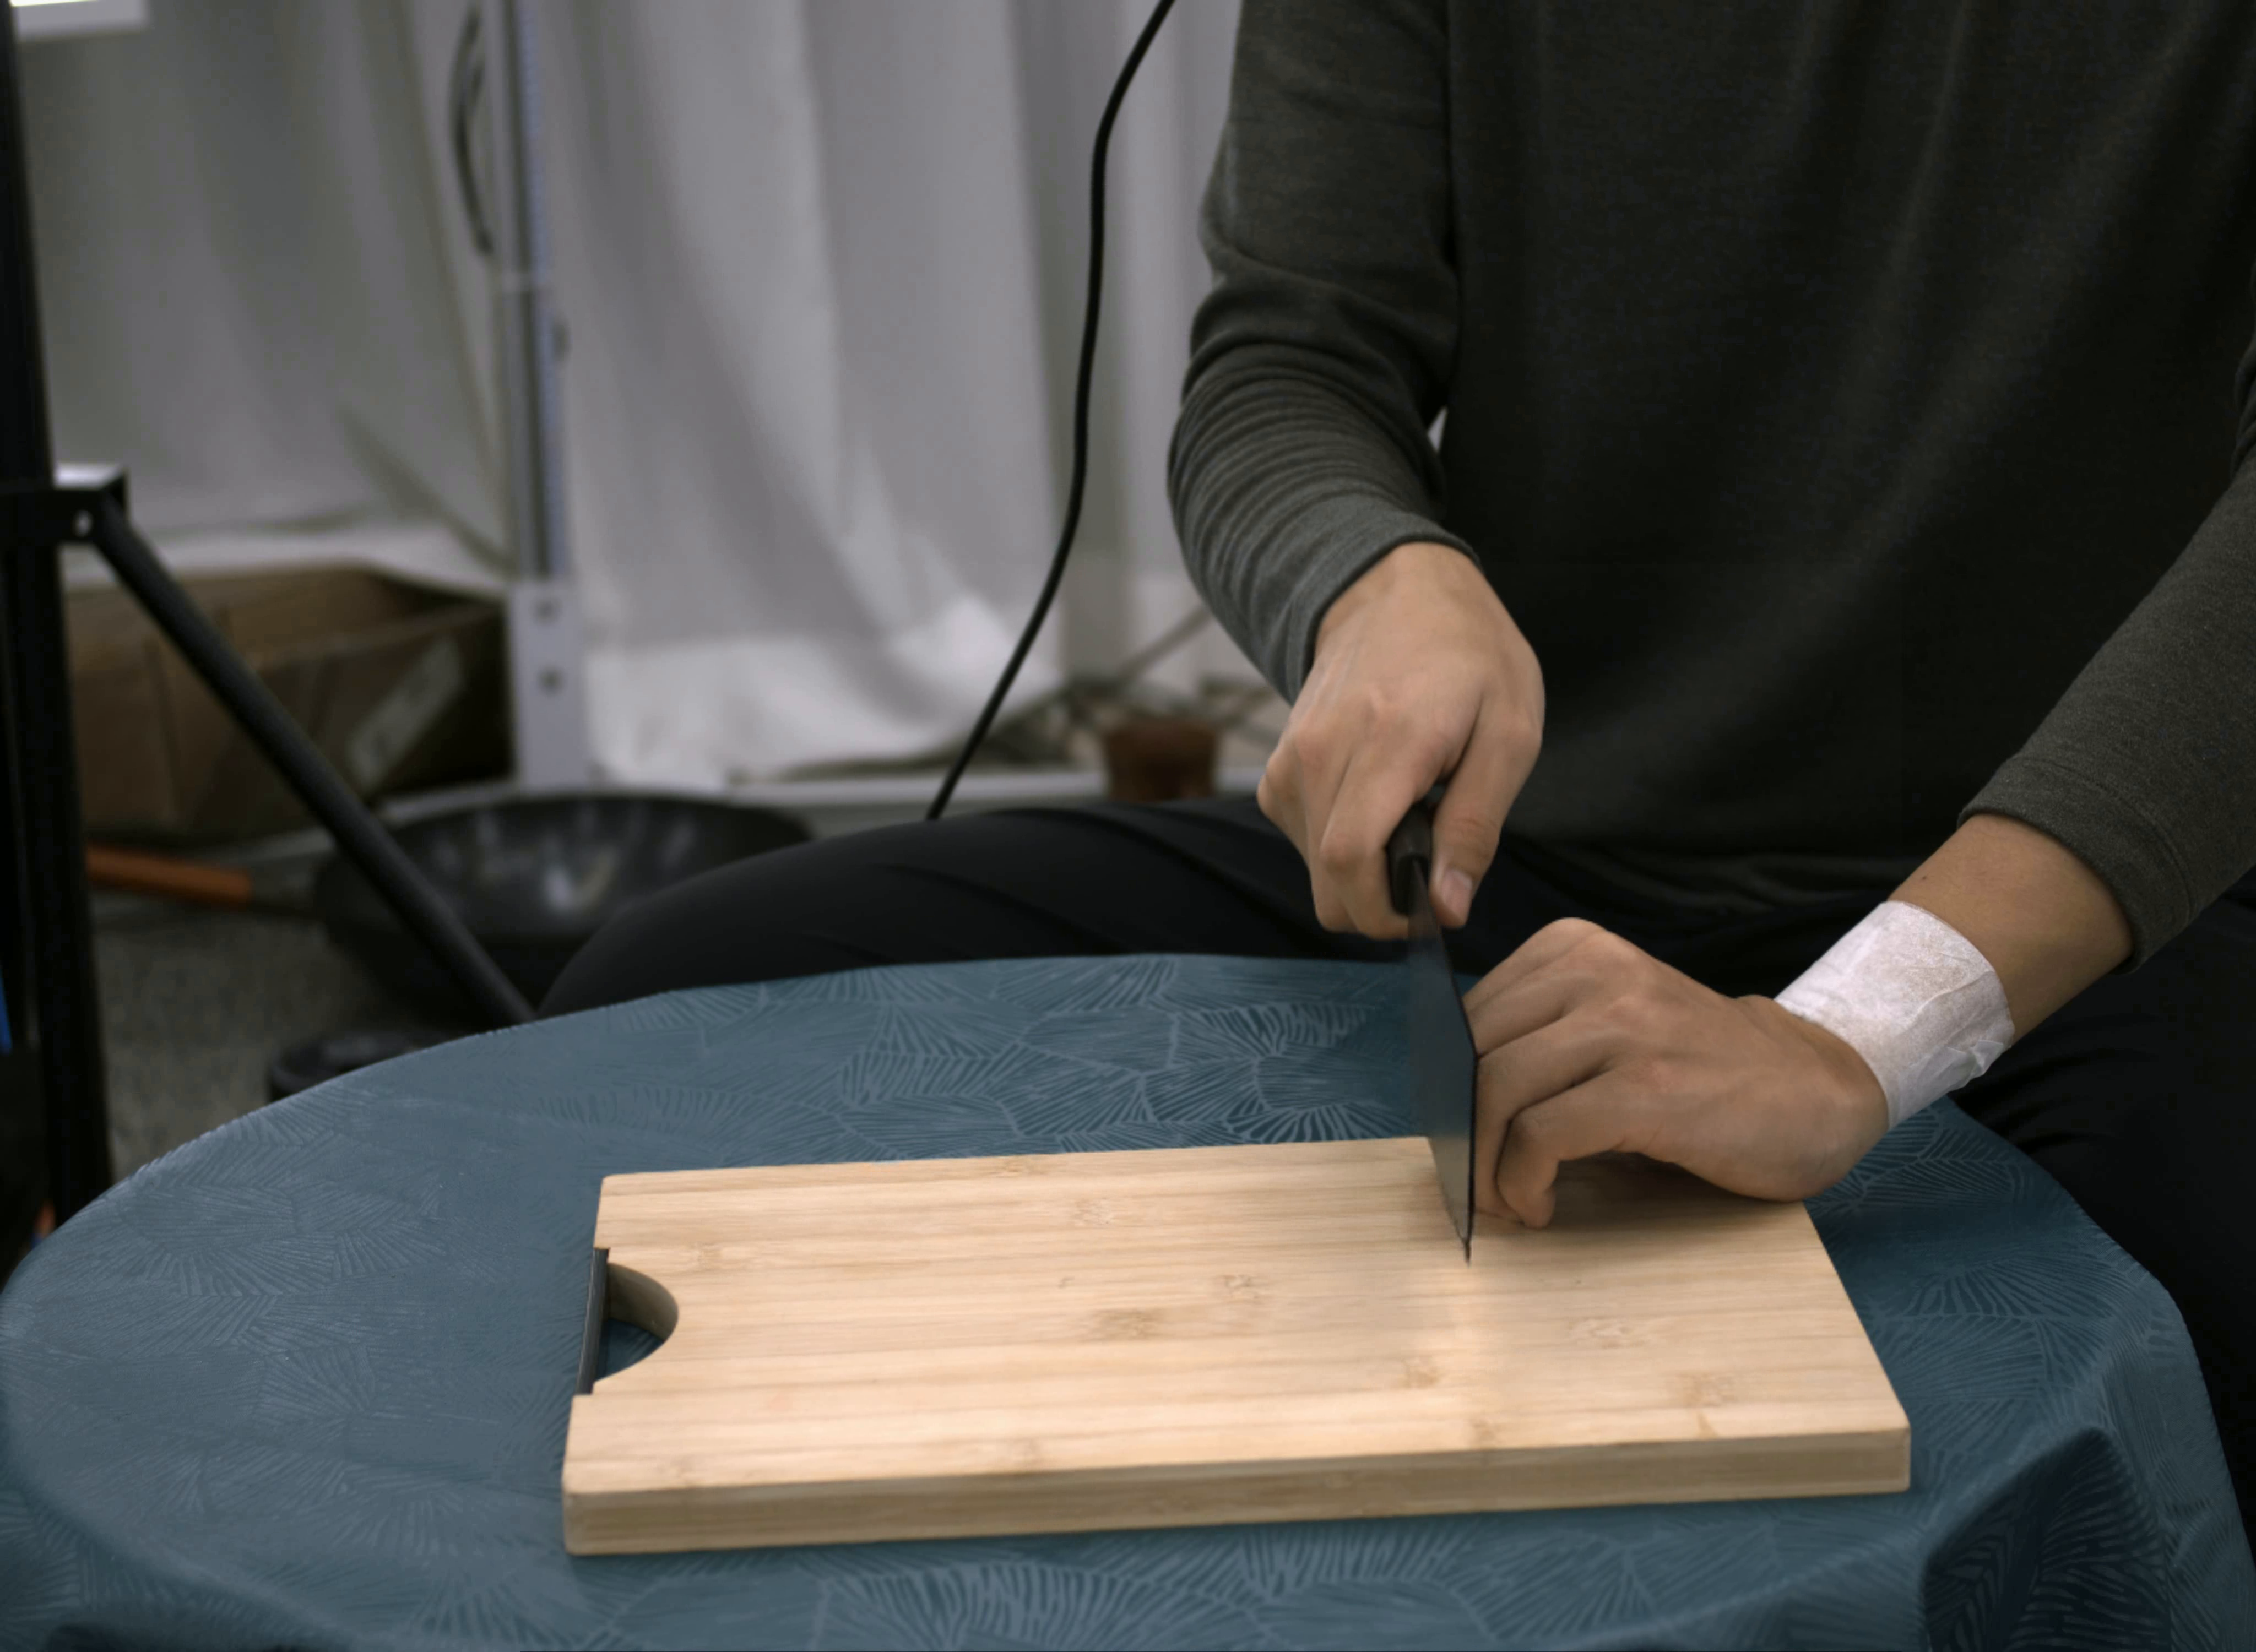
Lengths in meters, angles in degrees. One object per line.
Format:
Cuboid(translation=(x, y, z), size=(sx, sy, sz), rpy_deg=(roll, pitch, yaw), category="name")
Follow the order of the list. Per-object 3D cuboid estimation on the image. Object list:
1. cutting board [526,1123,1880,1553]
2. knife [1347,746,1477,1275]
Cuboid(translation=(0.017, 0.135, 1.434), size=(0.346, 0.023, 0.252), rpy_deg=(-3, 15, -1), category="cutting board")
Cuboid(translation=(0.083, 0.043, 1.505), size=(0.021, 0.081, 0.304), rpy_deg=(0, 21, -2), category="knife")
